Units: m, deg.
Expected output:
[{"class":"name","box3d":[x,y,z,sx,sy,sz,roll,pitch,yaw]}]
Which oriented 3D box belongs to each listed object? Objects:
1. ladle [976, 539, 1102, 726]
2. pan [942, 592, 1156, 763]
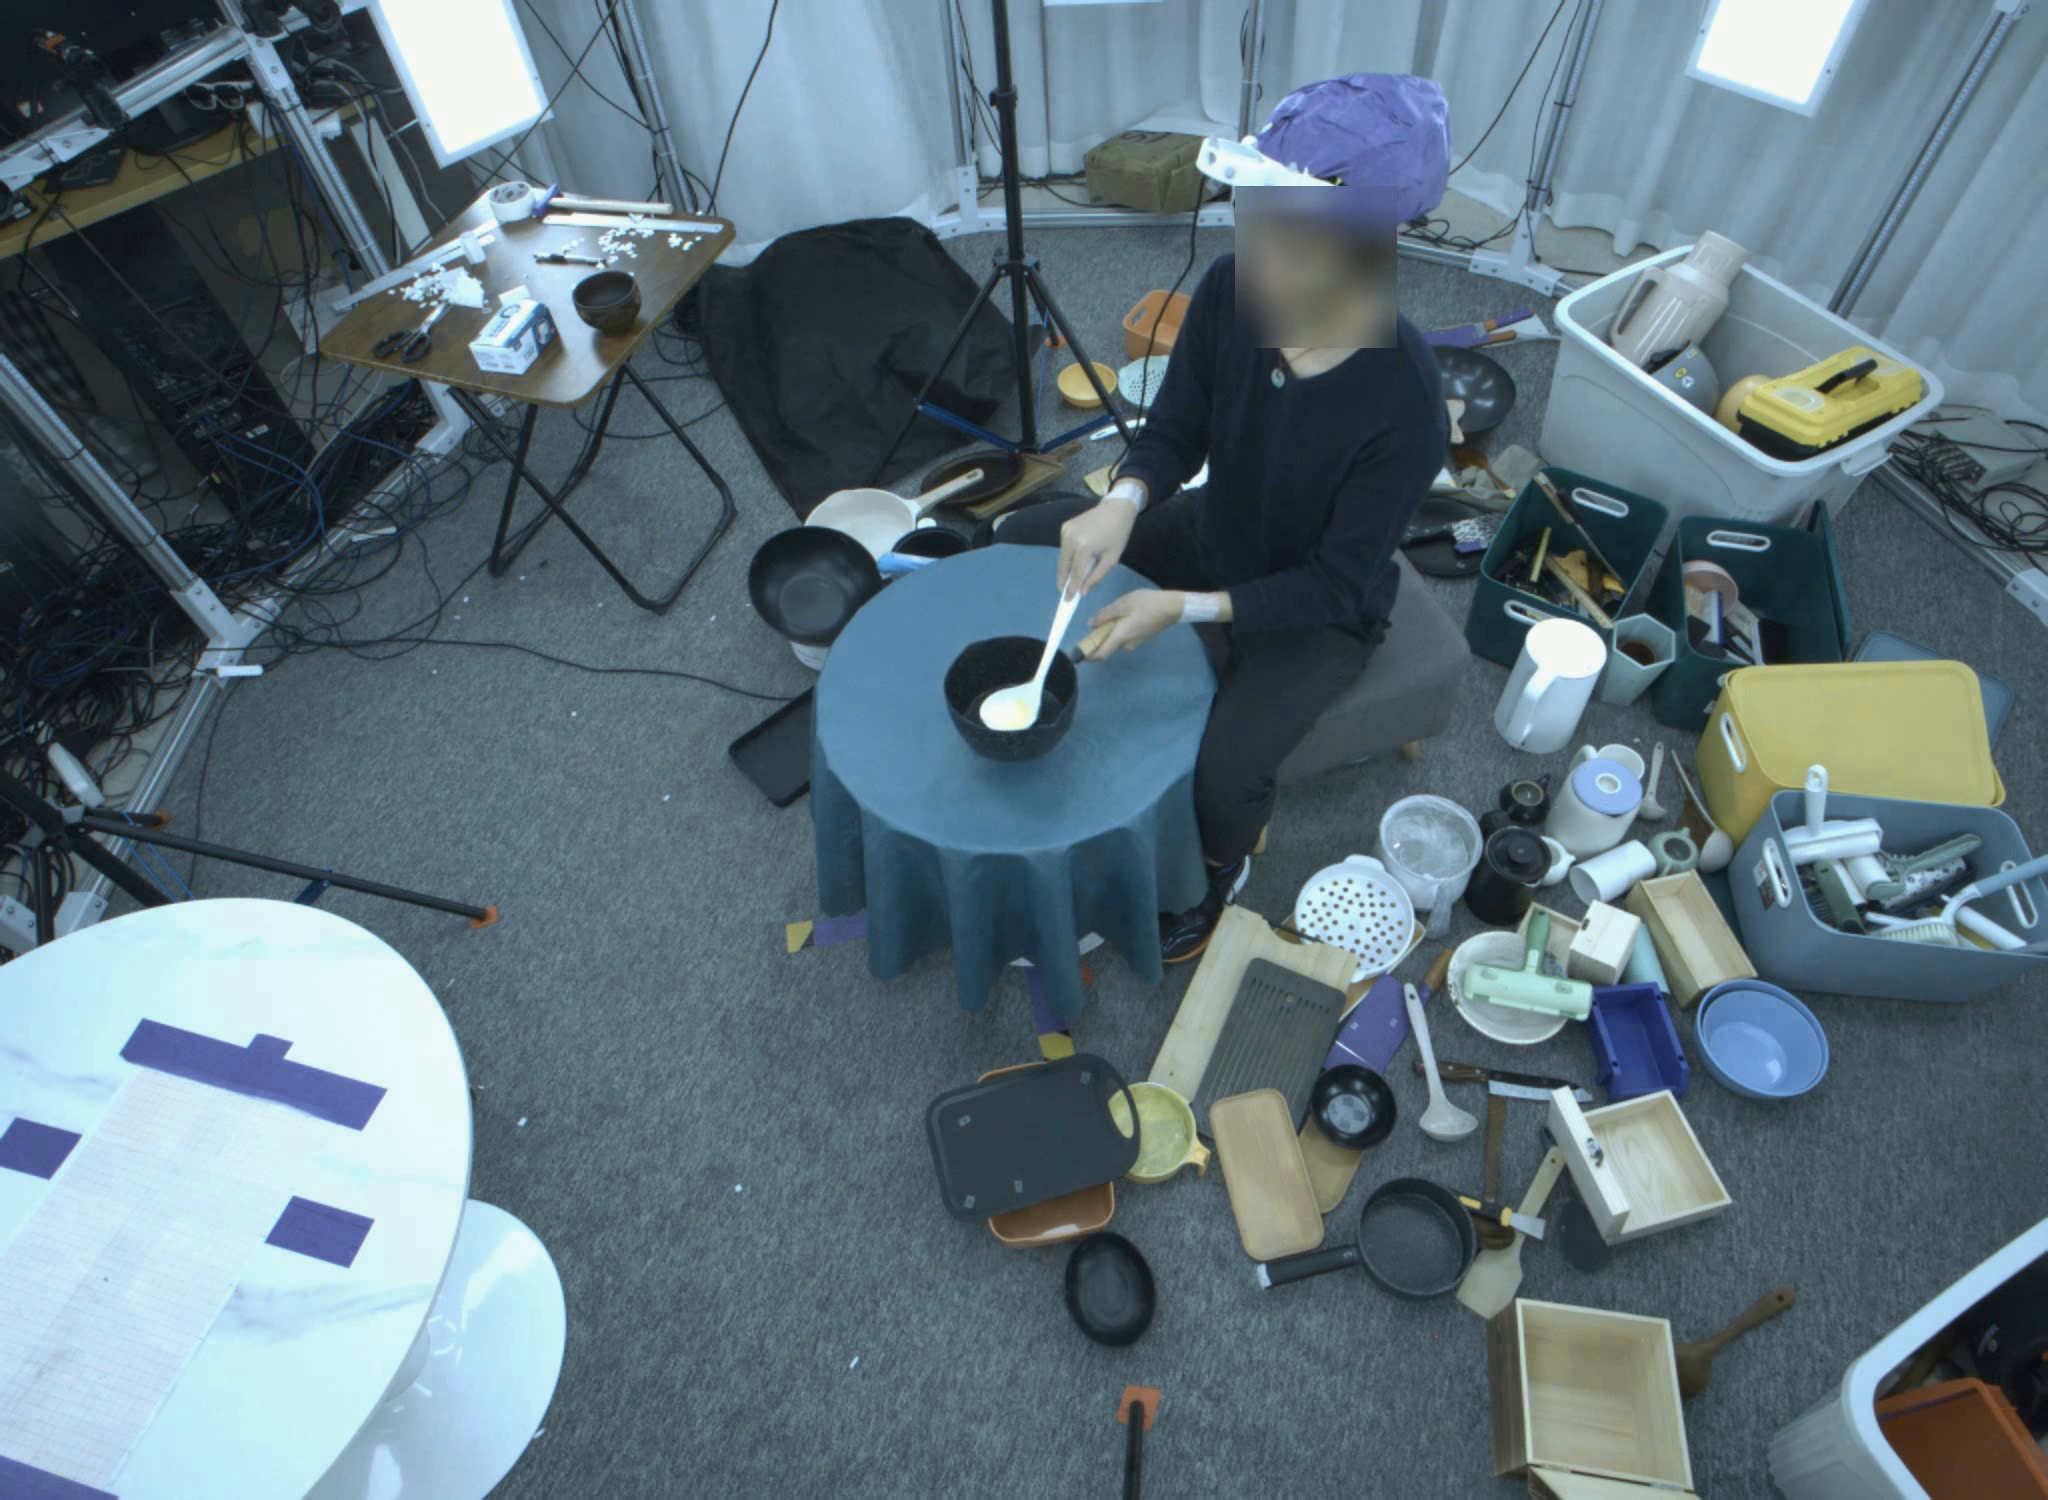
[{"class":"ladle","box3d":[0.023,-0.162,1.714,0.088,0.071,0.293,31,100,45]},{"class":"pan","box3d":[0.046,-0.111,1.737,0.346,0.109,0.203,-31,54,-21]}]
